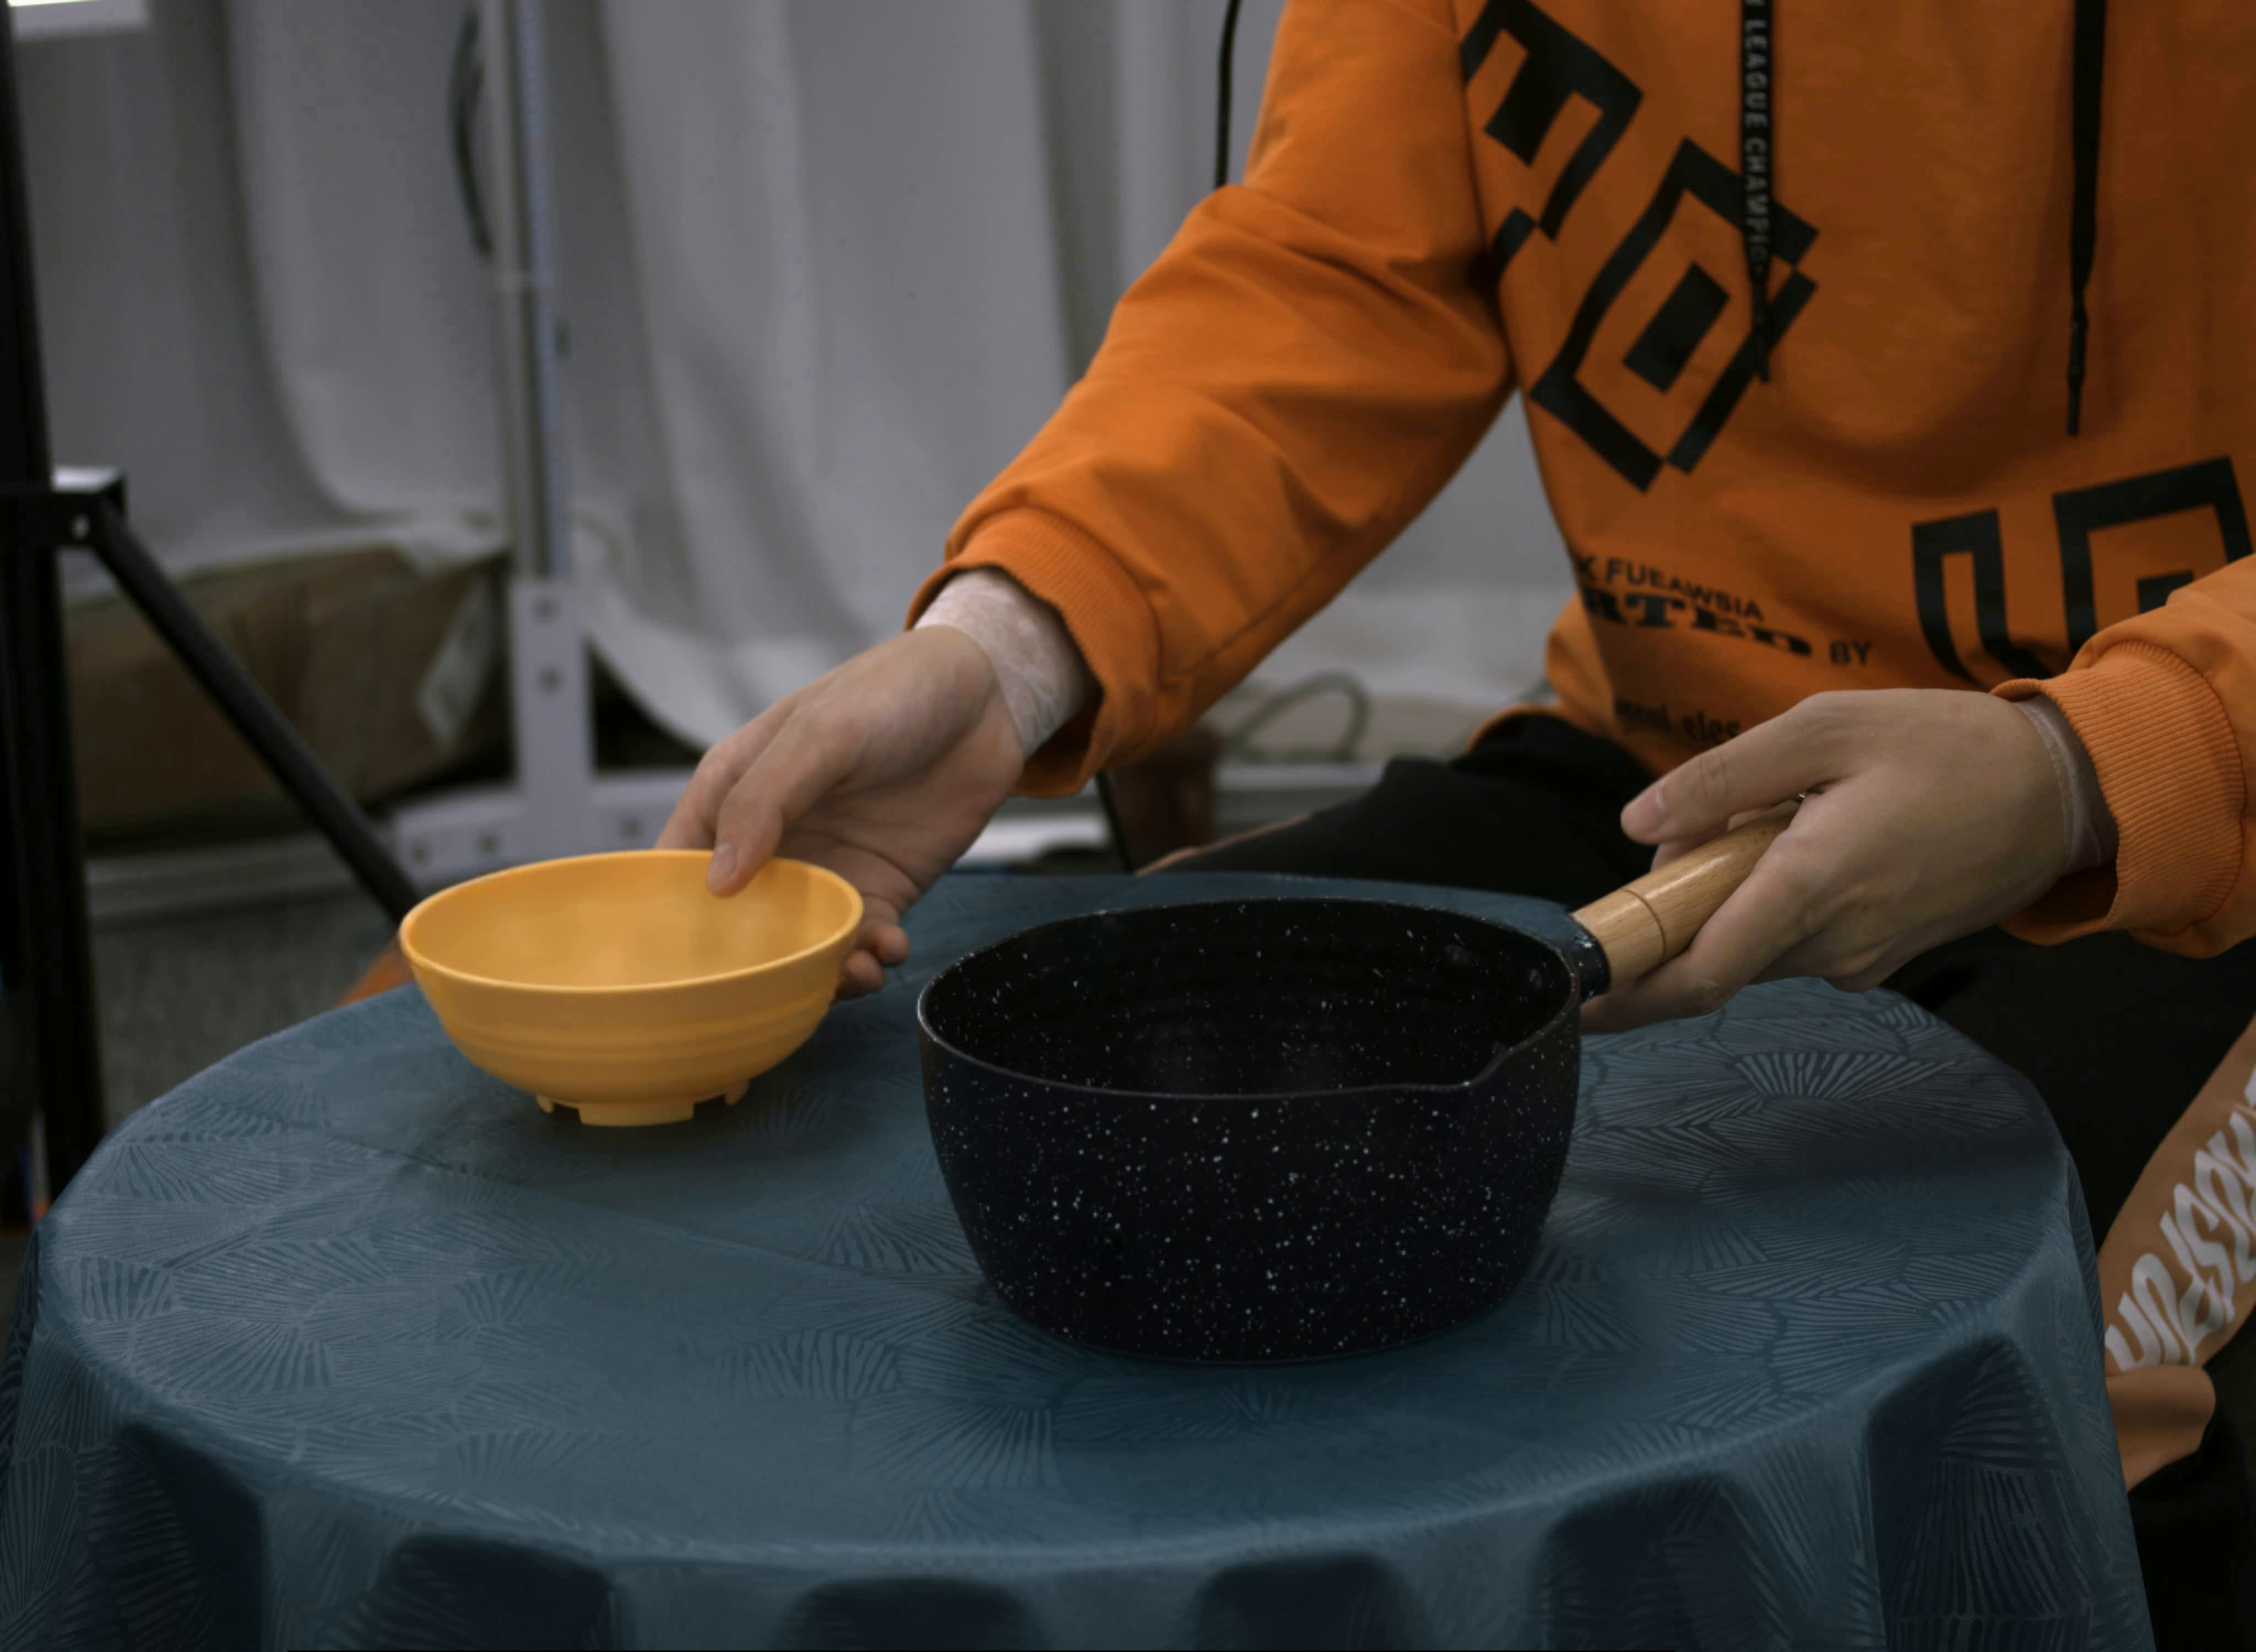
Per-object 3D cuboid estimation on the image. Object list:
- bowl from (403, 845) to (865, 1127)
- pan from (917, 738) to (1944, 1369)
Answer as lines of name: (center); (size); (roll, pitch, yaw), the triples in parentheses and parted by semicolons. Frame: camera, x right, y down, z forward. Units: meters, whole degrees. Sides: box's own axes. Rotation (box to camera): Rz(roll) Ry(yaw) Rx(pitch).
bowl: (-0.153, 0.055, 1.664); (0.144, 0.060, 0.146); (-2, 16, -1)
pan: (0.100, 0.060, 1.514); (0.335, 0.108, 0.212); (-14, 18, -31)
